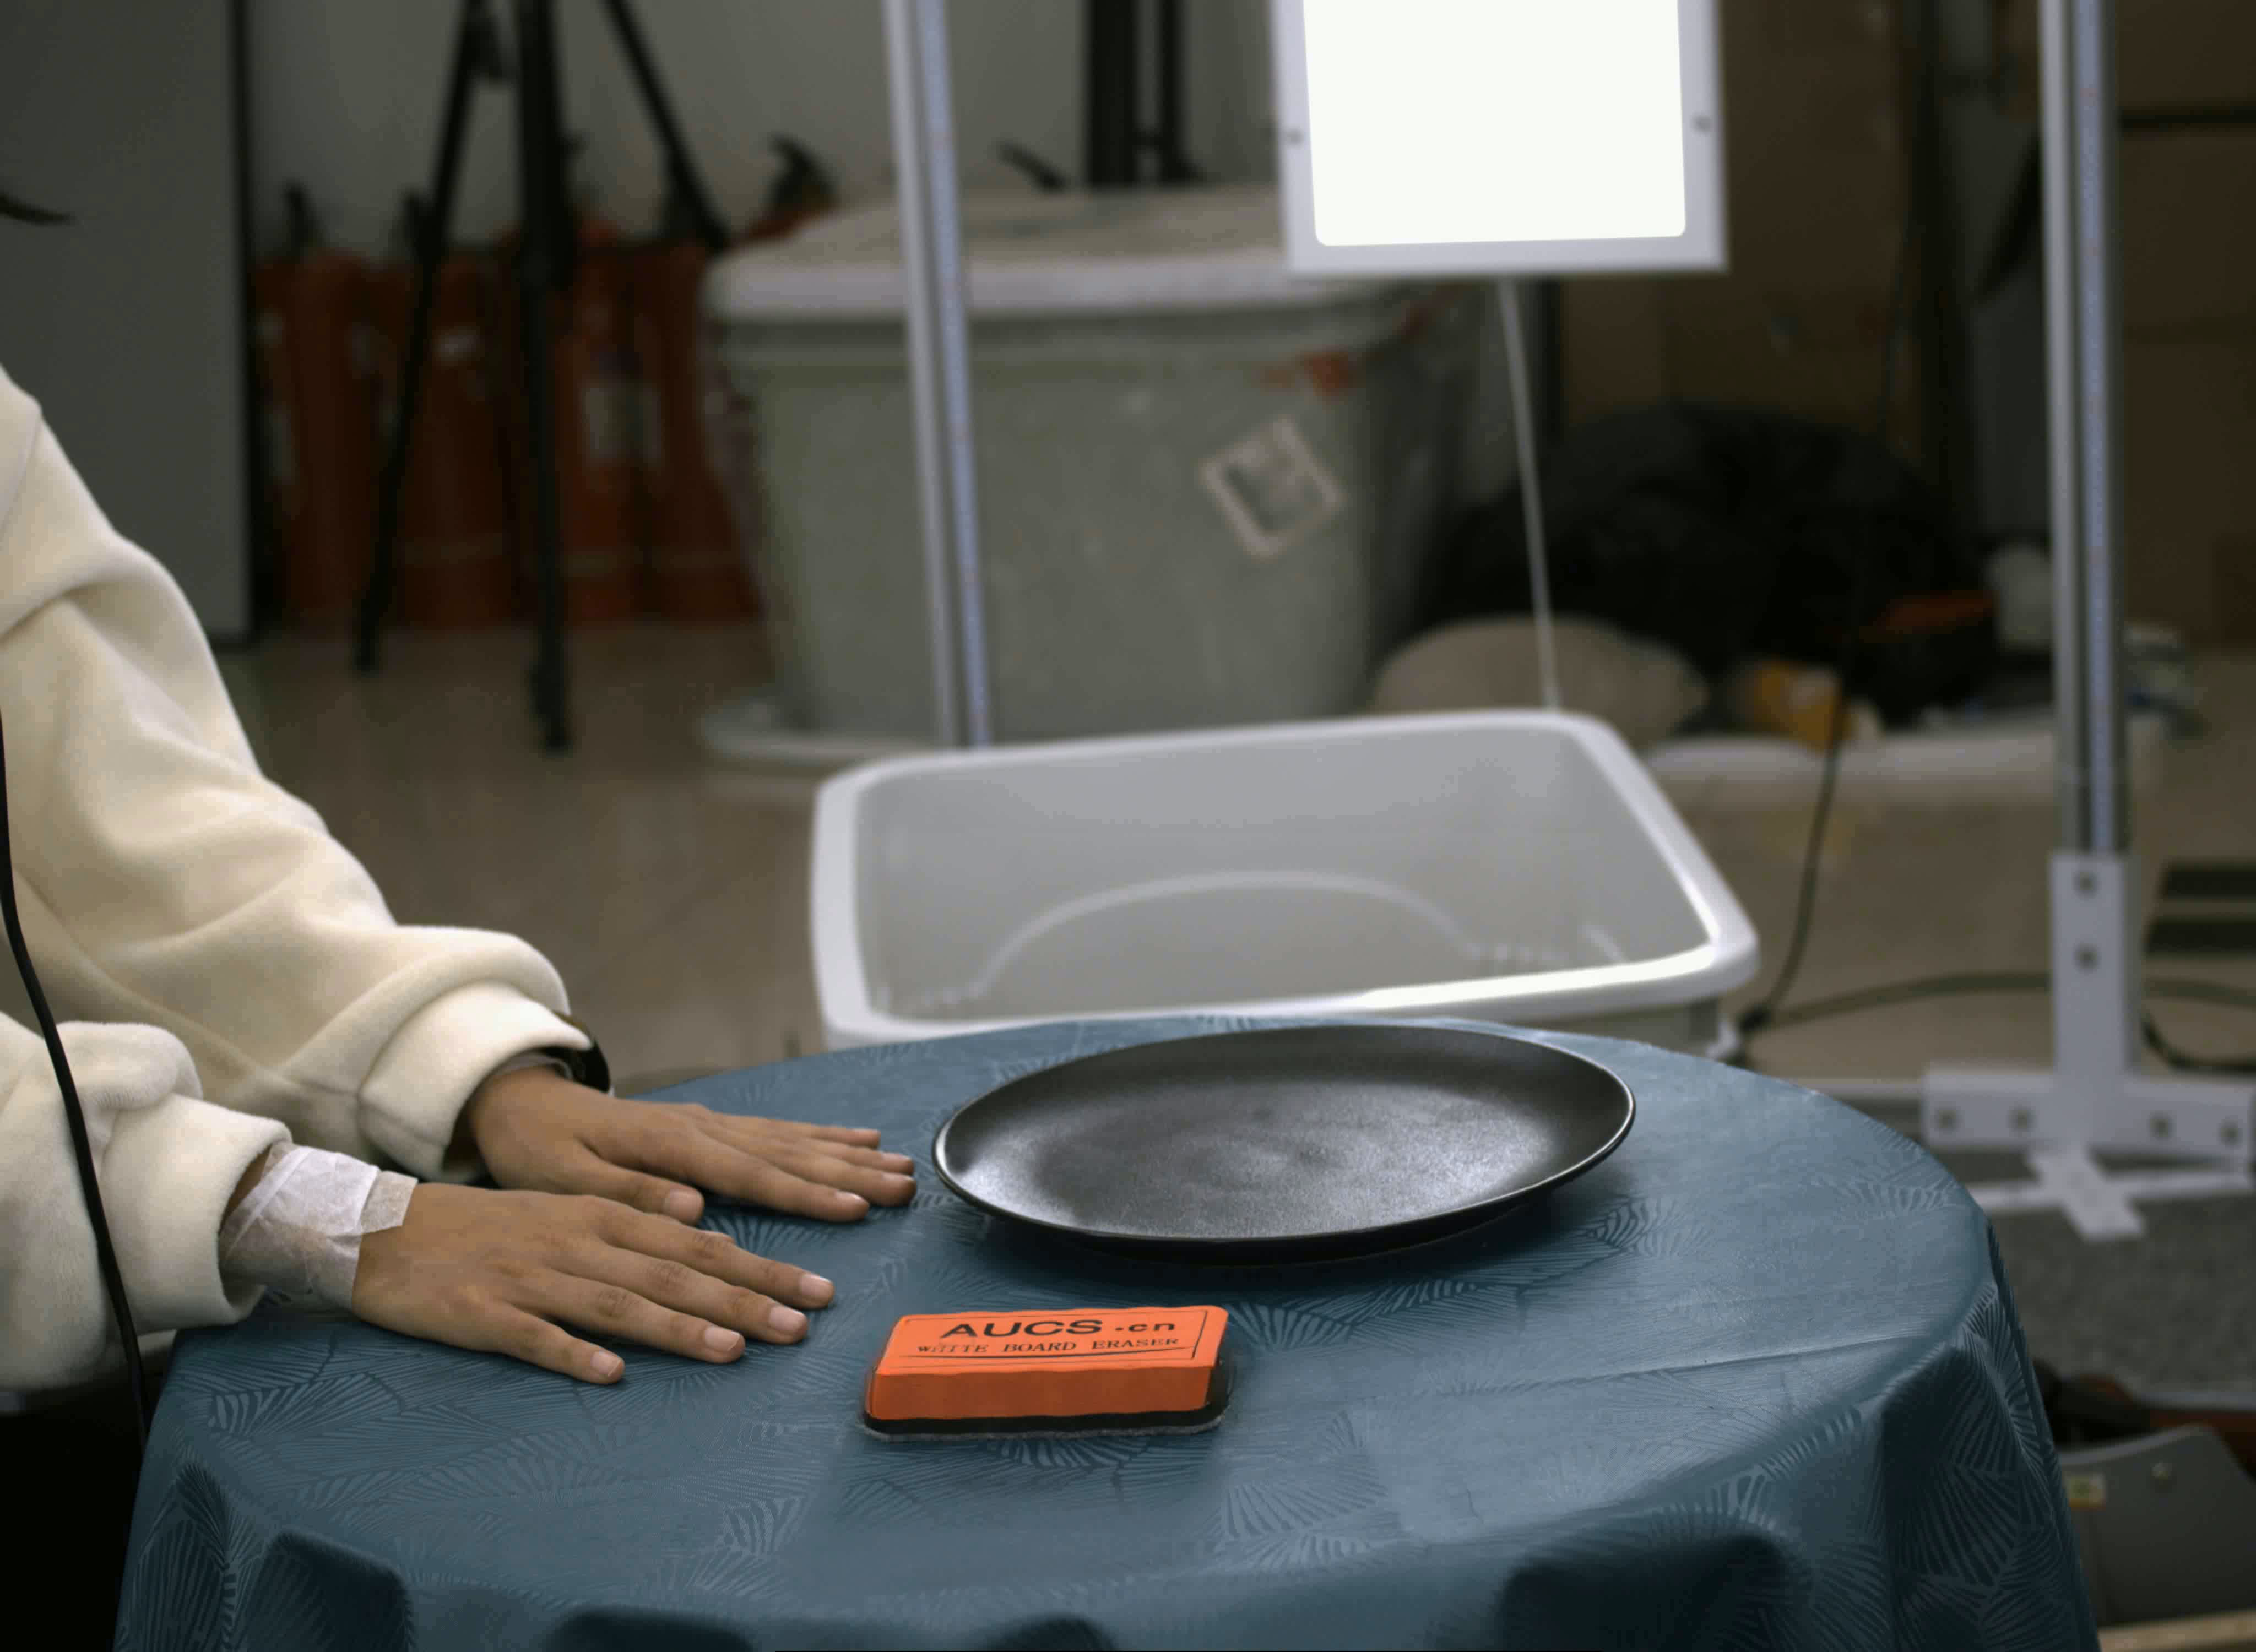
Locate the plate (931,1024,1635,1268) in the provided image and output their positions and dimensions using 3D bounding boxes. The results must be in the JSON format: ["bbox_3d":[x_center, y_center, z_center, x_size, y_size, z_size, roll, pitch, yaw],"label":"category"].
[{"bbox_3d":[0.054,0.112,1.889,0.244,0.023,0.244,-5,14,0],"label":"plate"}]

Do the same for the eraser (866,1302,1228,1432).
[{"bbox_3d":[-0.024,0.165,1.689,0.108,0.023,0.058,-1,15,9],"label":"eraser"}]
